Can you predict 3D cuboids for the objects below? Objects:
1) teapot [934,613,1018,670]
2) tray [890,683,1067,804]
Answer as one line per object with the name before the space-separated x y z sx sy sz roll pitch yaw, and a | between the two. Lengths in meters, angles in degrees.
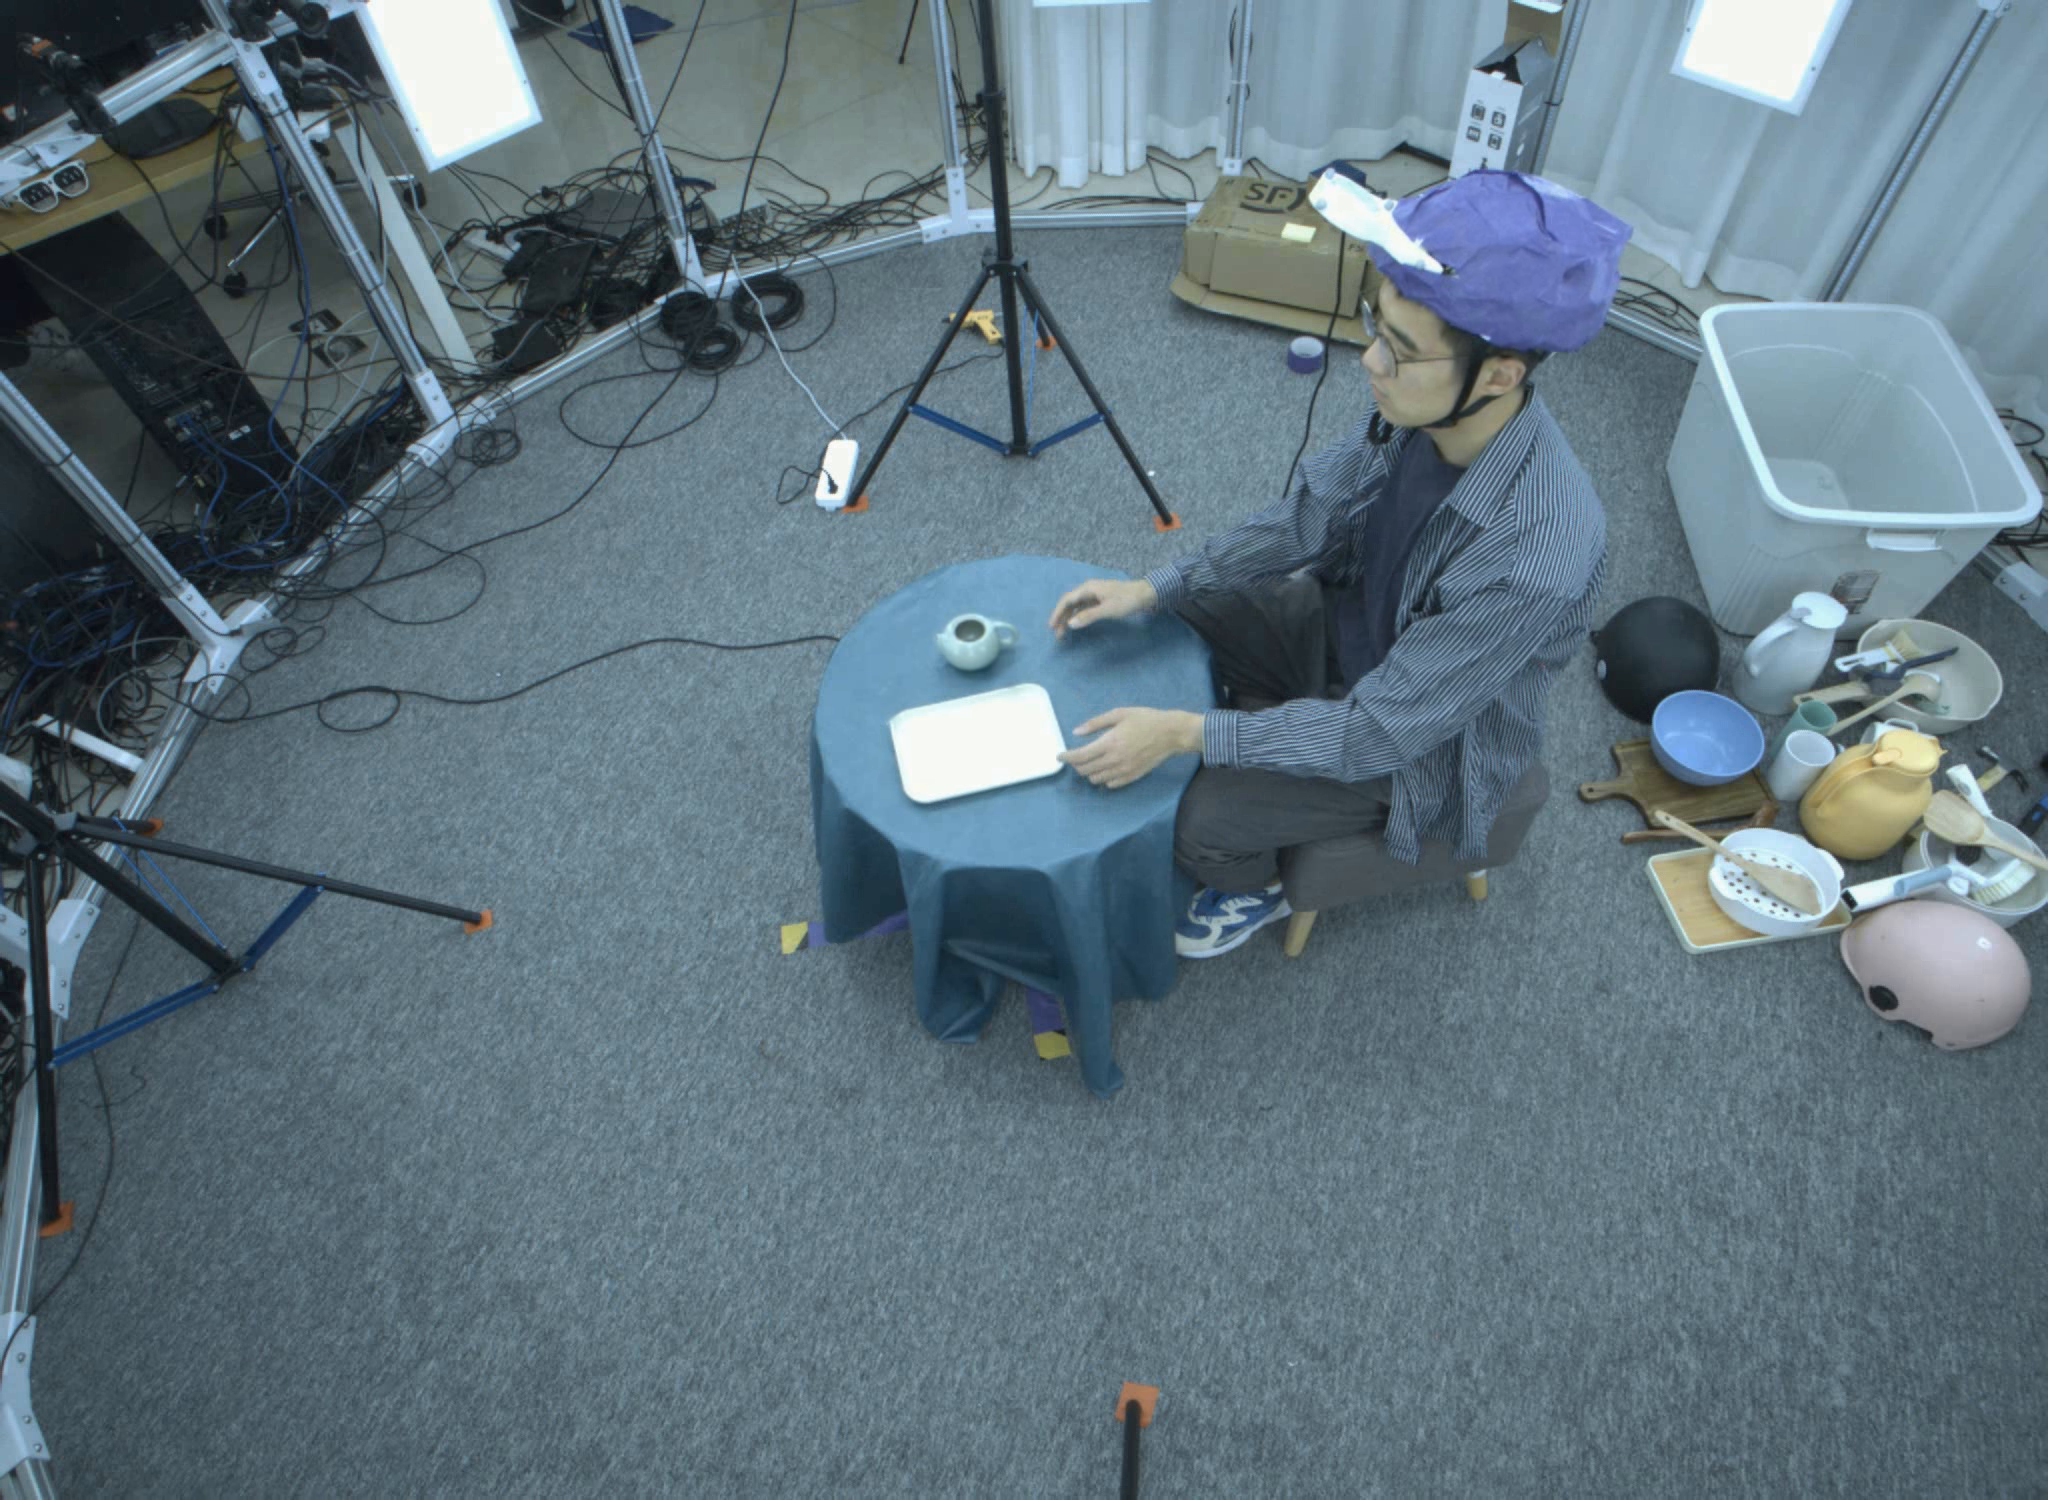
teapot | -0.072 -0.167 1.877 0.129 0.061 0.090 -8 53 -5
tray | -0.067 -0.010 1.790 0.241 0.017 0.168 -13 56 -8
